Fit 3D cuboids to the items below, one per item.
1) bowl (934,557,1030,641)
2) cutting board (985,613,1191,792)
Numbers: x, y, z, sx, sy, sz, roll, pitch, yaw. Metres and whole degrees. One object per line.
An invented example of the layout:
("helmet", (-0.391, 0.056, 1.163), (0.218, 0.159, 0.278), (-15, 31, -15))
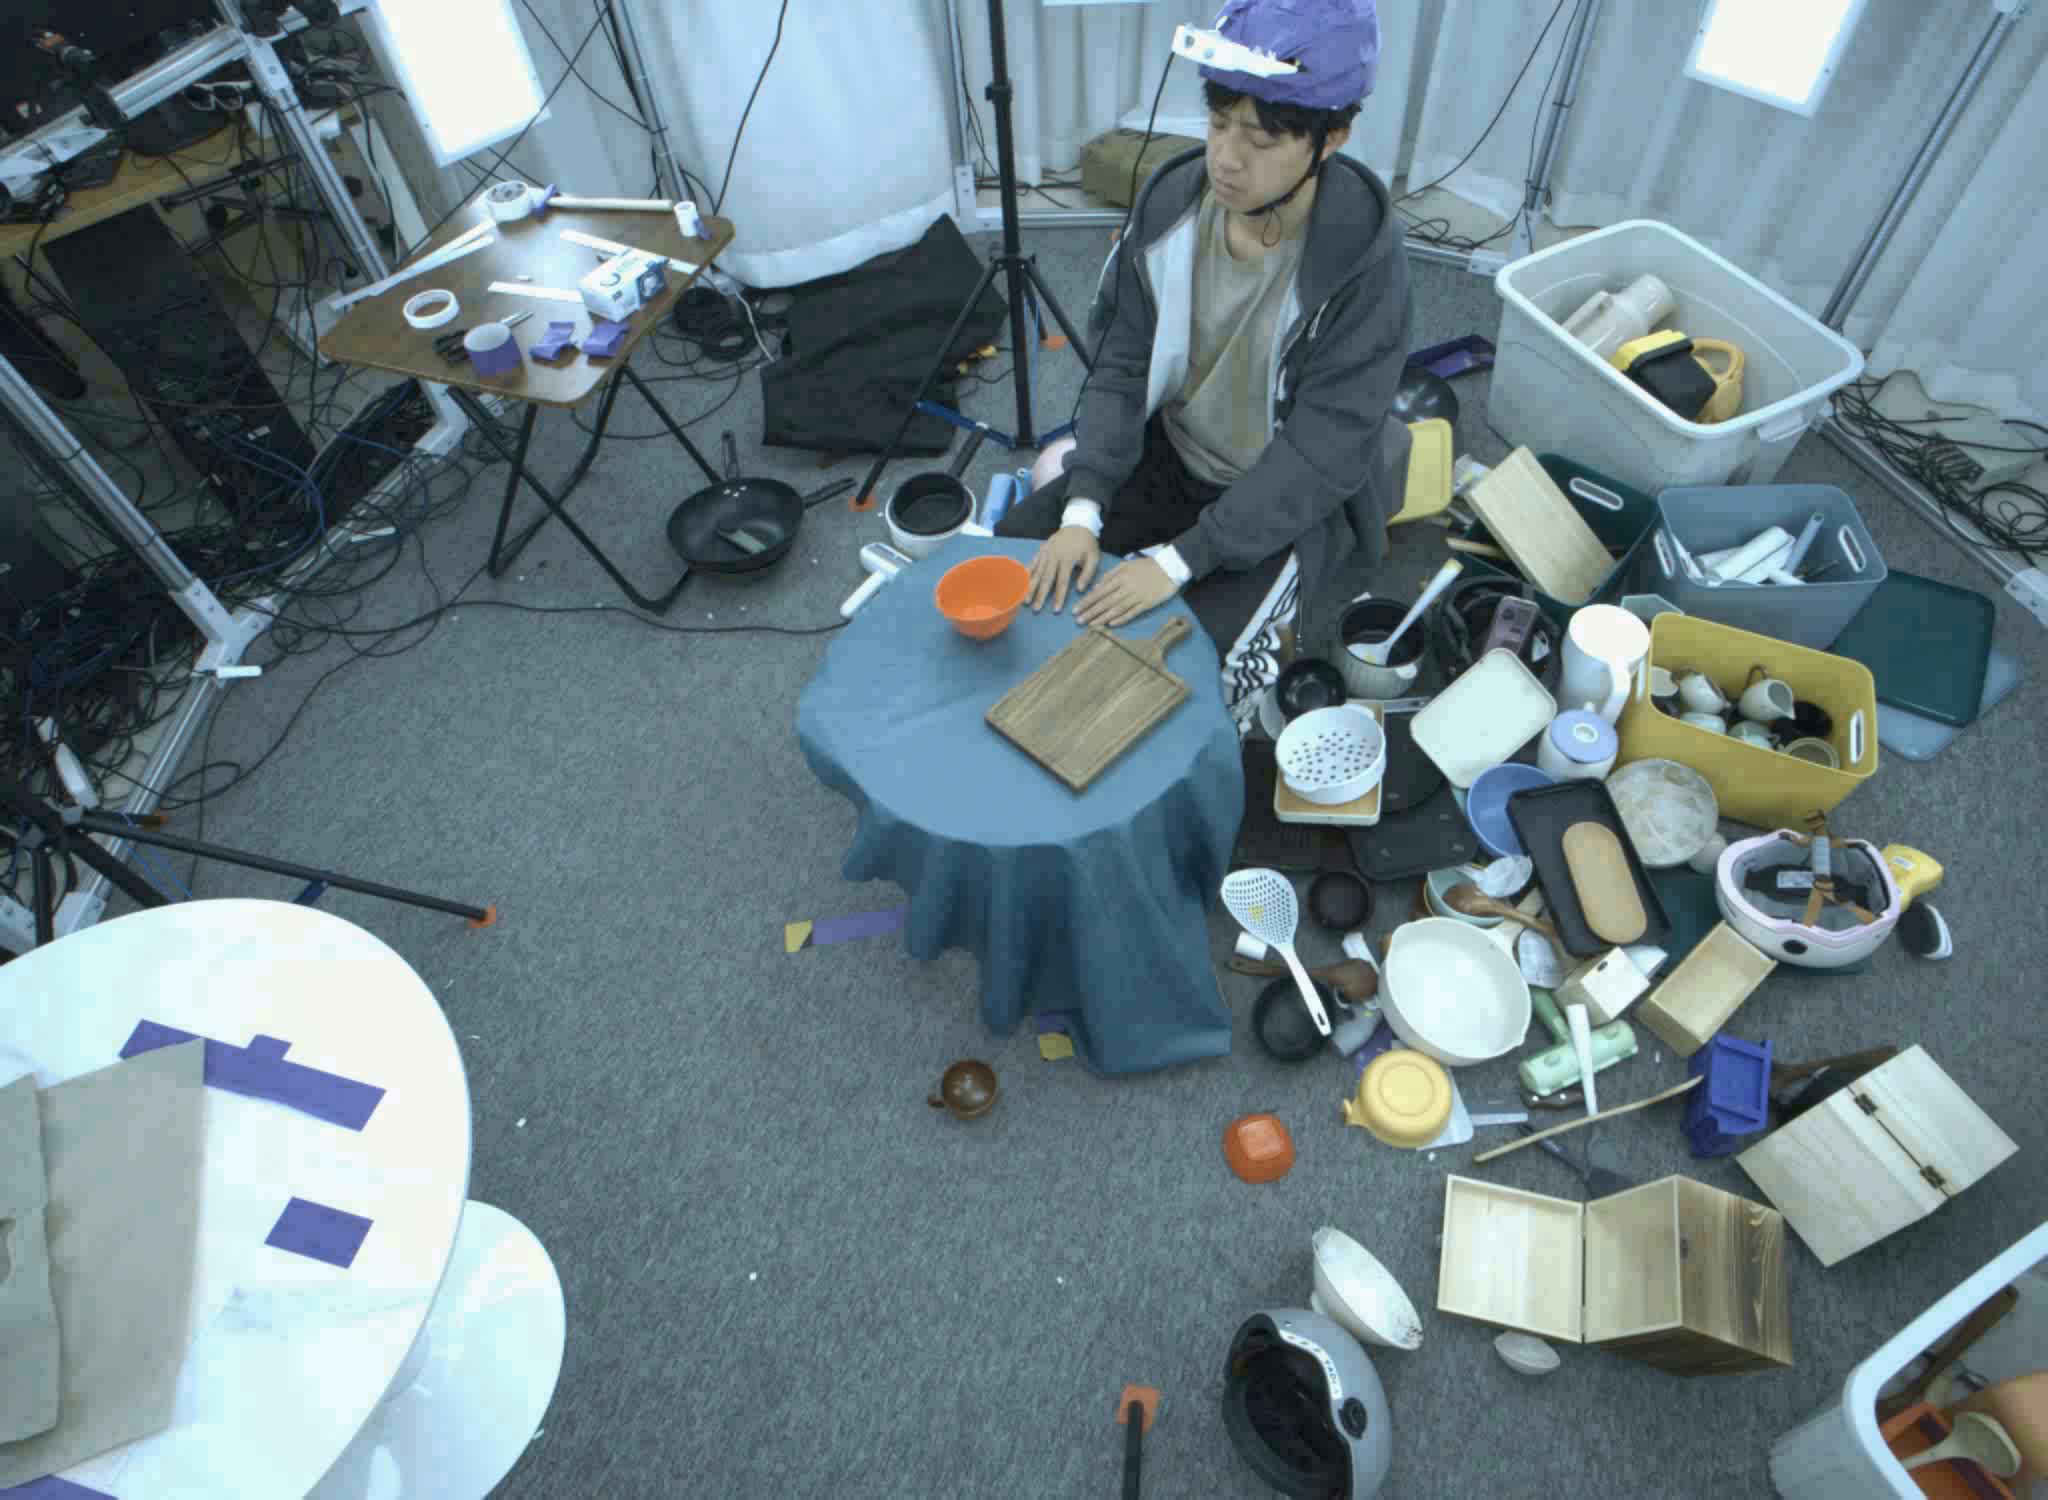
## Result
("bowl", (-0.062, -0.220, 1.887), (0.148, 0.106, 0.146), (-1, 54, 2))
("cutting board", (0.130, -0.098, 1.843), (0.197, 0.023, 0.354), (38, 64, 25))
